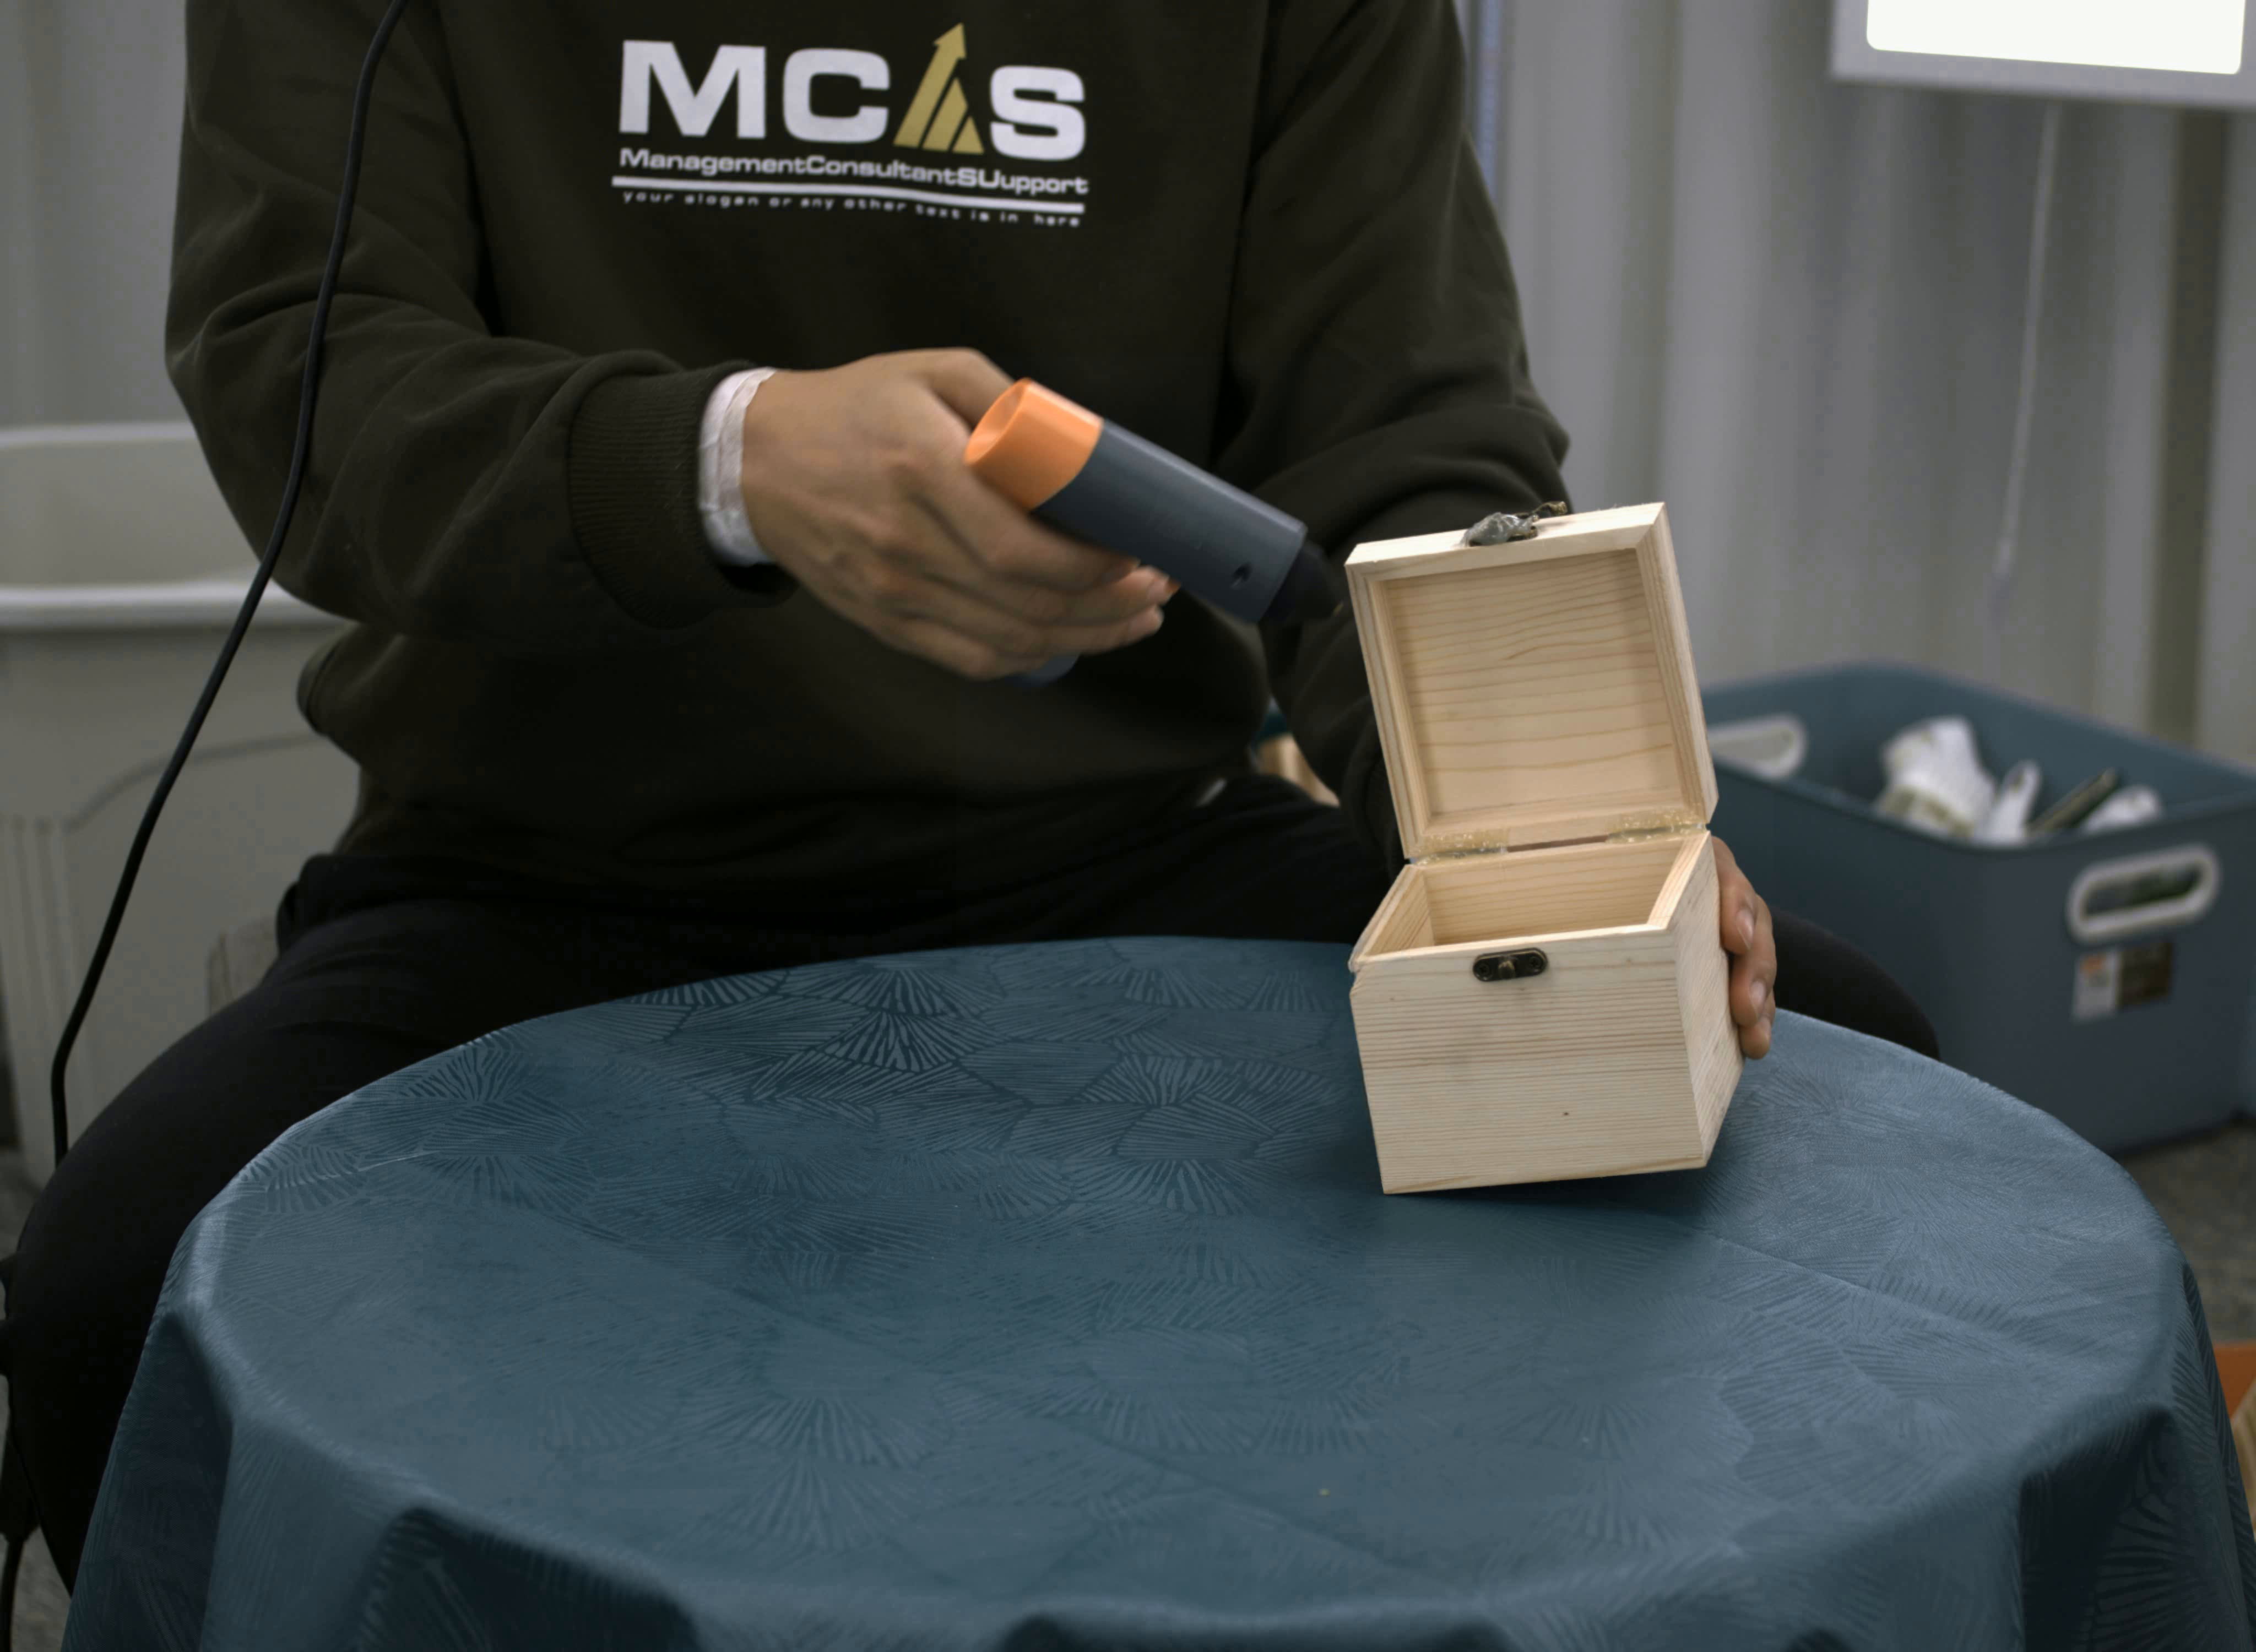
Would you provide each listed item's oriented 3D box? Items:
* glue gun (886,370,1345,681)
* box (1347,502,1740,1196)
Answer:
[{"bbox_3d":[-0.008,-0.088,1.661,0.119,0.041,0.139,37,-28,-19],"label":"glue gun"},{"bbox_3d":[0.125,0.005,1.643,0.102,0.186,0.133,-6,16,15],"label":"box"}]
